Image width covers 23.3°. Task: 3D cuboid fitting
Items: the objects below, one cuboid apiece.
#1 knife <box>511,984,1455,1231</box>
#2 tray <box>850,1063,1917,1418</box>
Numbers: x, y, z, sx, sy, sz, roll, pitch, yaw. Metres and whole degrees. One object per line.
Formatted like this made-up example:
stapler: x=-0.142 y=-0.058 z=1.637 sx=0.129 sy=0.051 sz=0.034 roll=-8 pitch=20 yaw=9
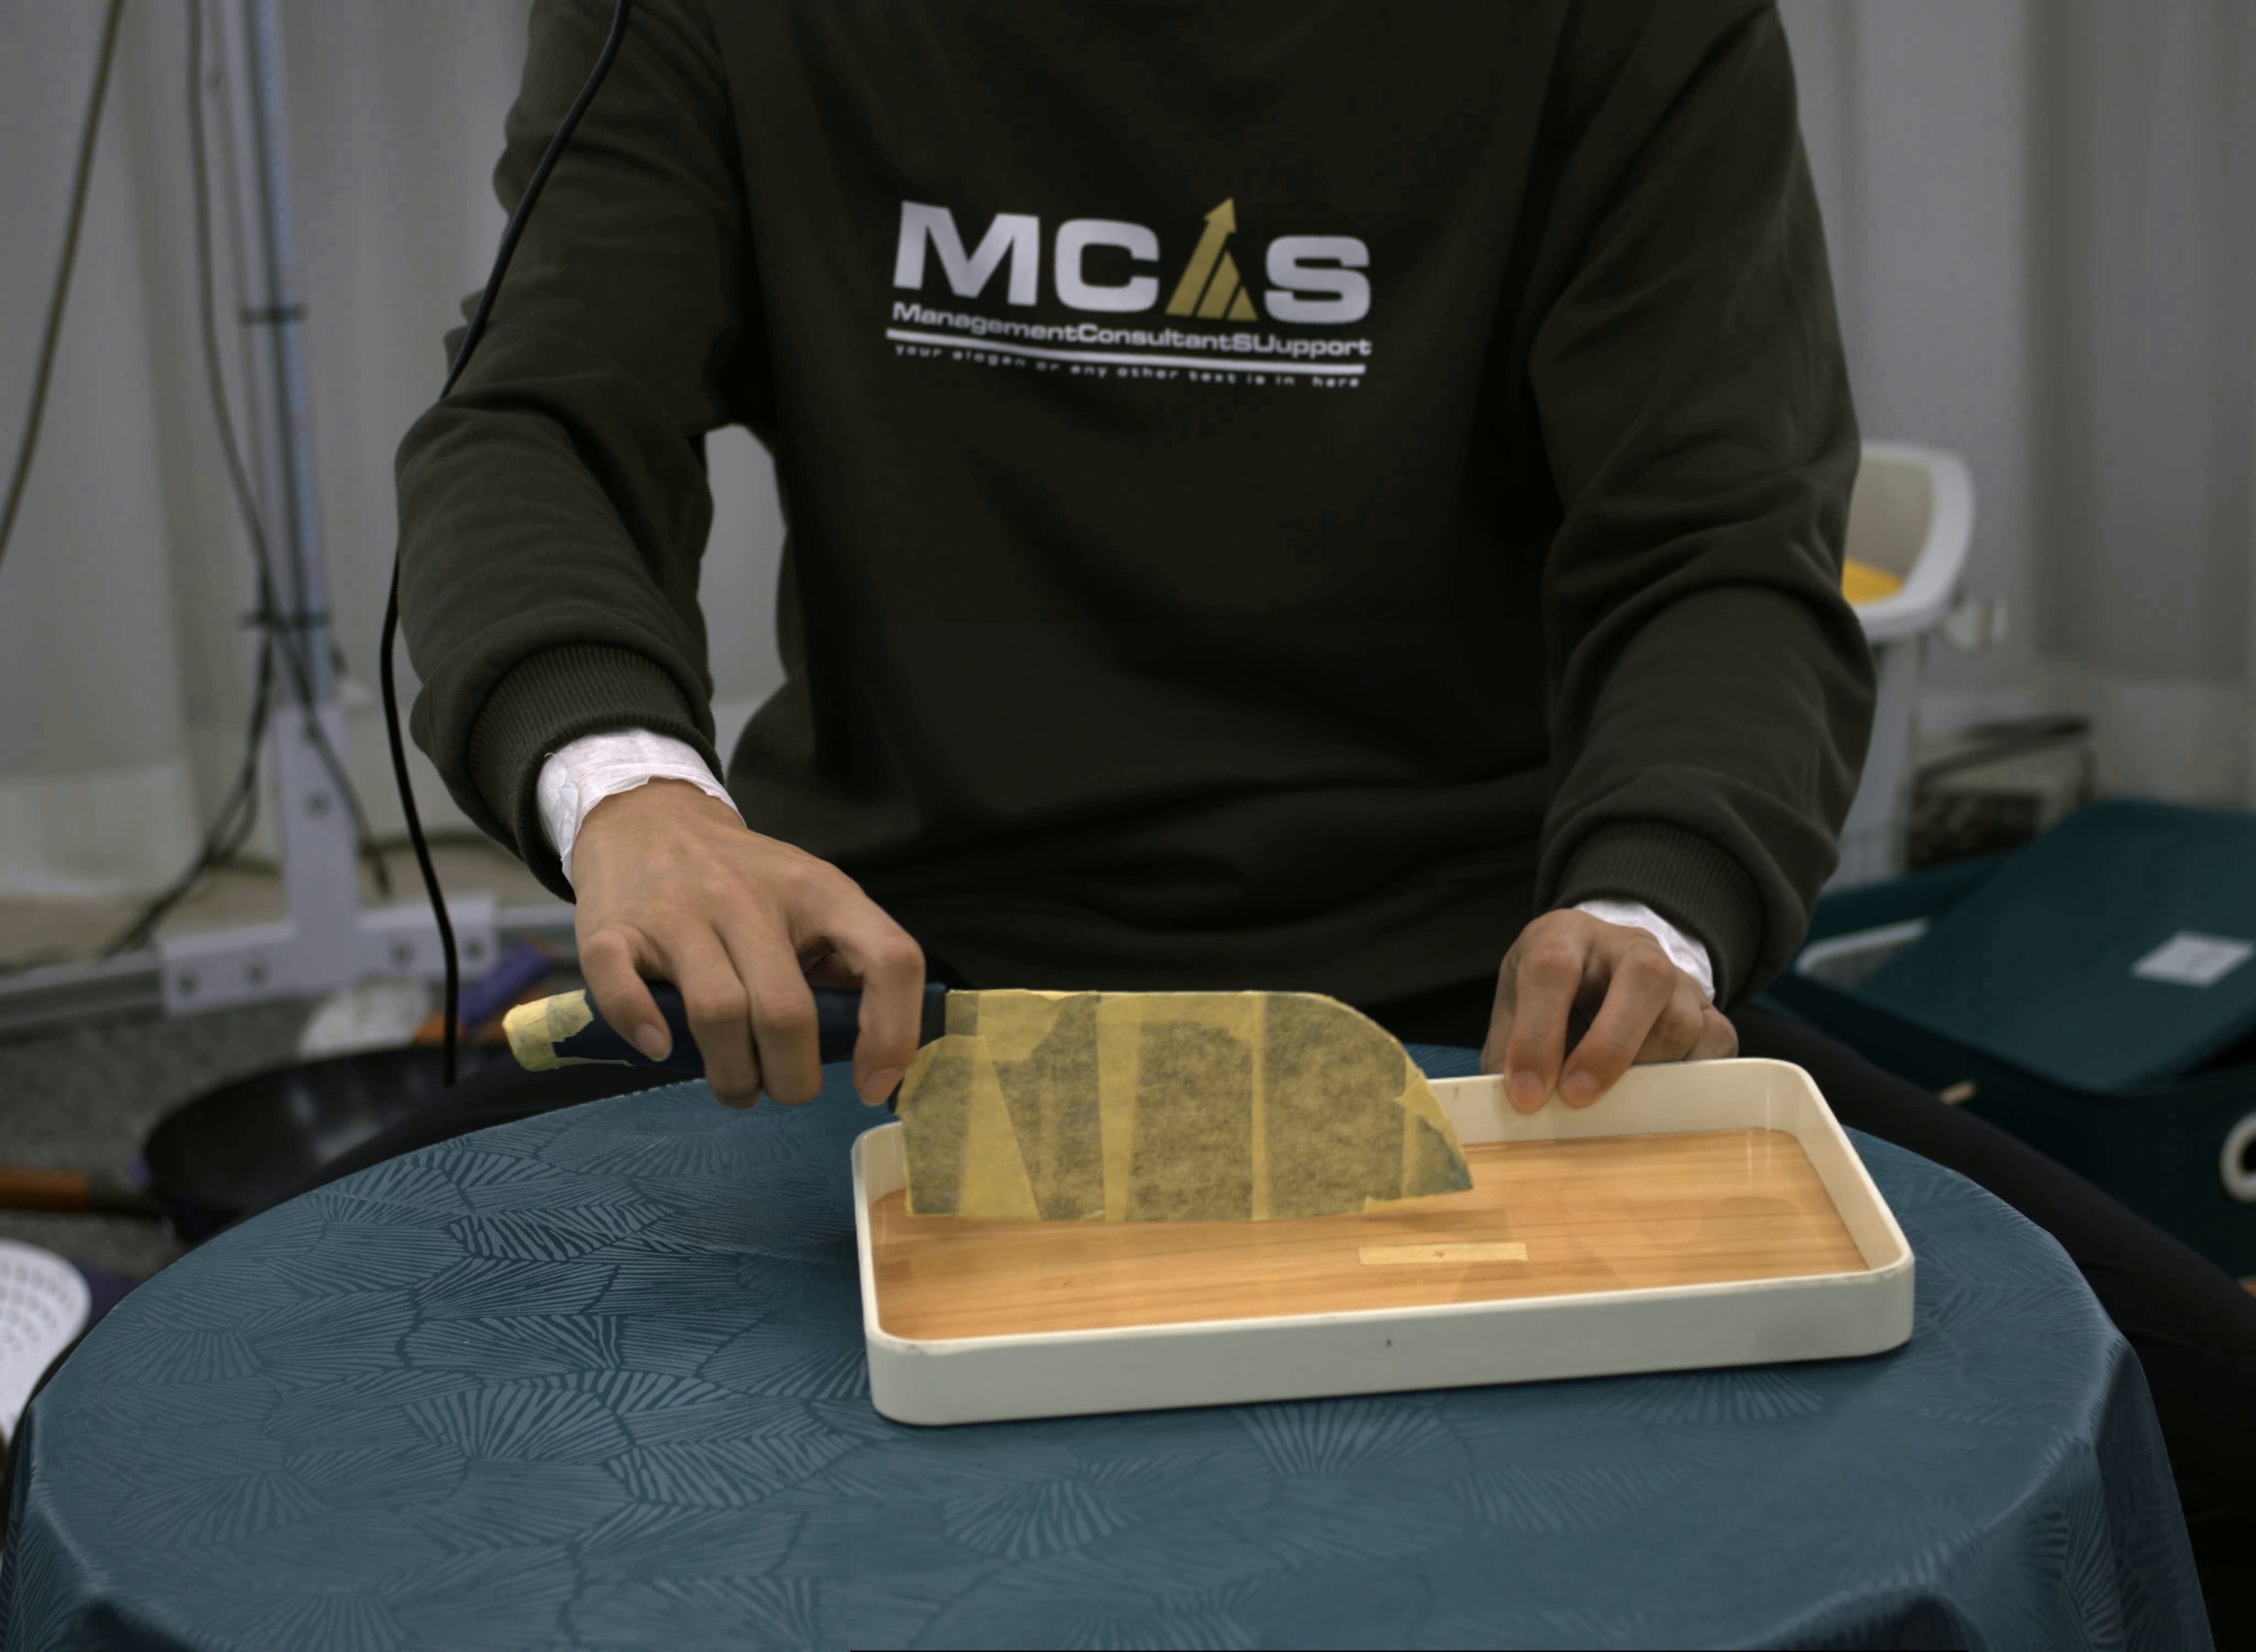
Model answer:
knife: x=-0.045 y=0.083 z=1.650 sx=0.289 sy=0.081 sz=0.027 roll=4 pitch=9 yaw=7
tray: x=0.069 y=0.121 z=1.617 sx=0.299 sy=0.027 sz=0.193 roll=-4 pitch=16 yaw=-3
